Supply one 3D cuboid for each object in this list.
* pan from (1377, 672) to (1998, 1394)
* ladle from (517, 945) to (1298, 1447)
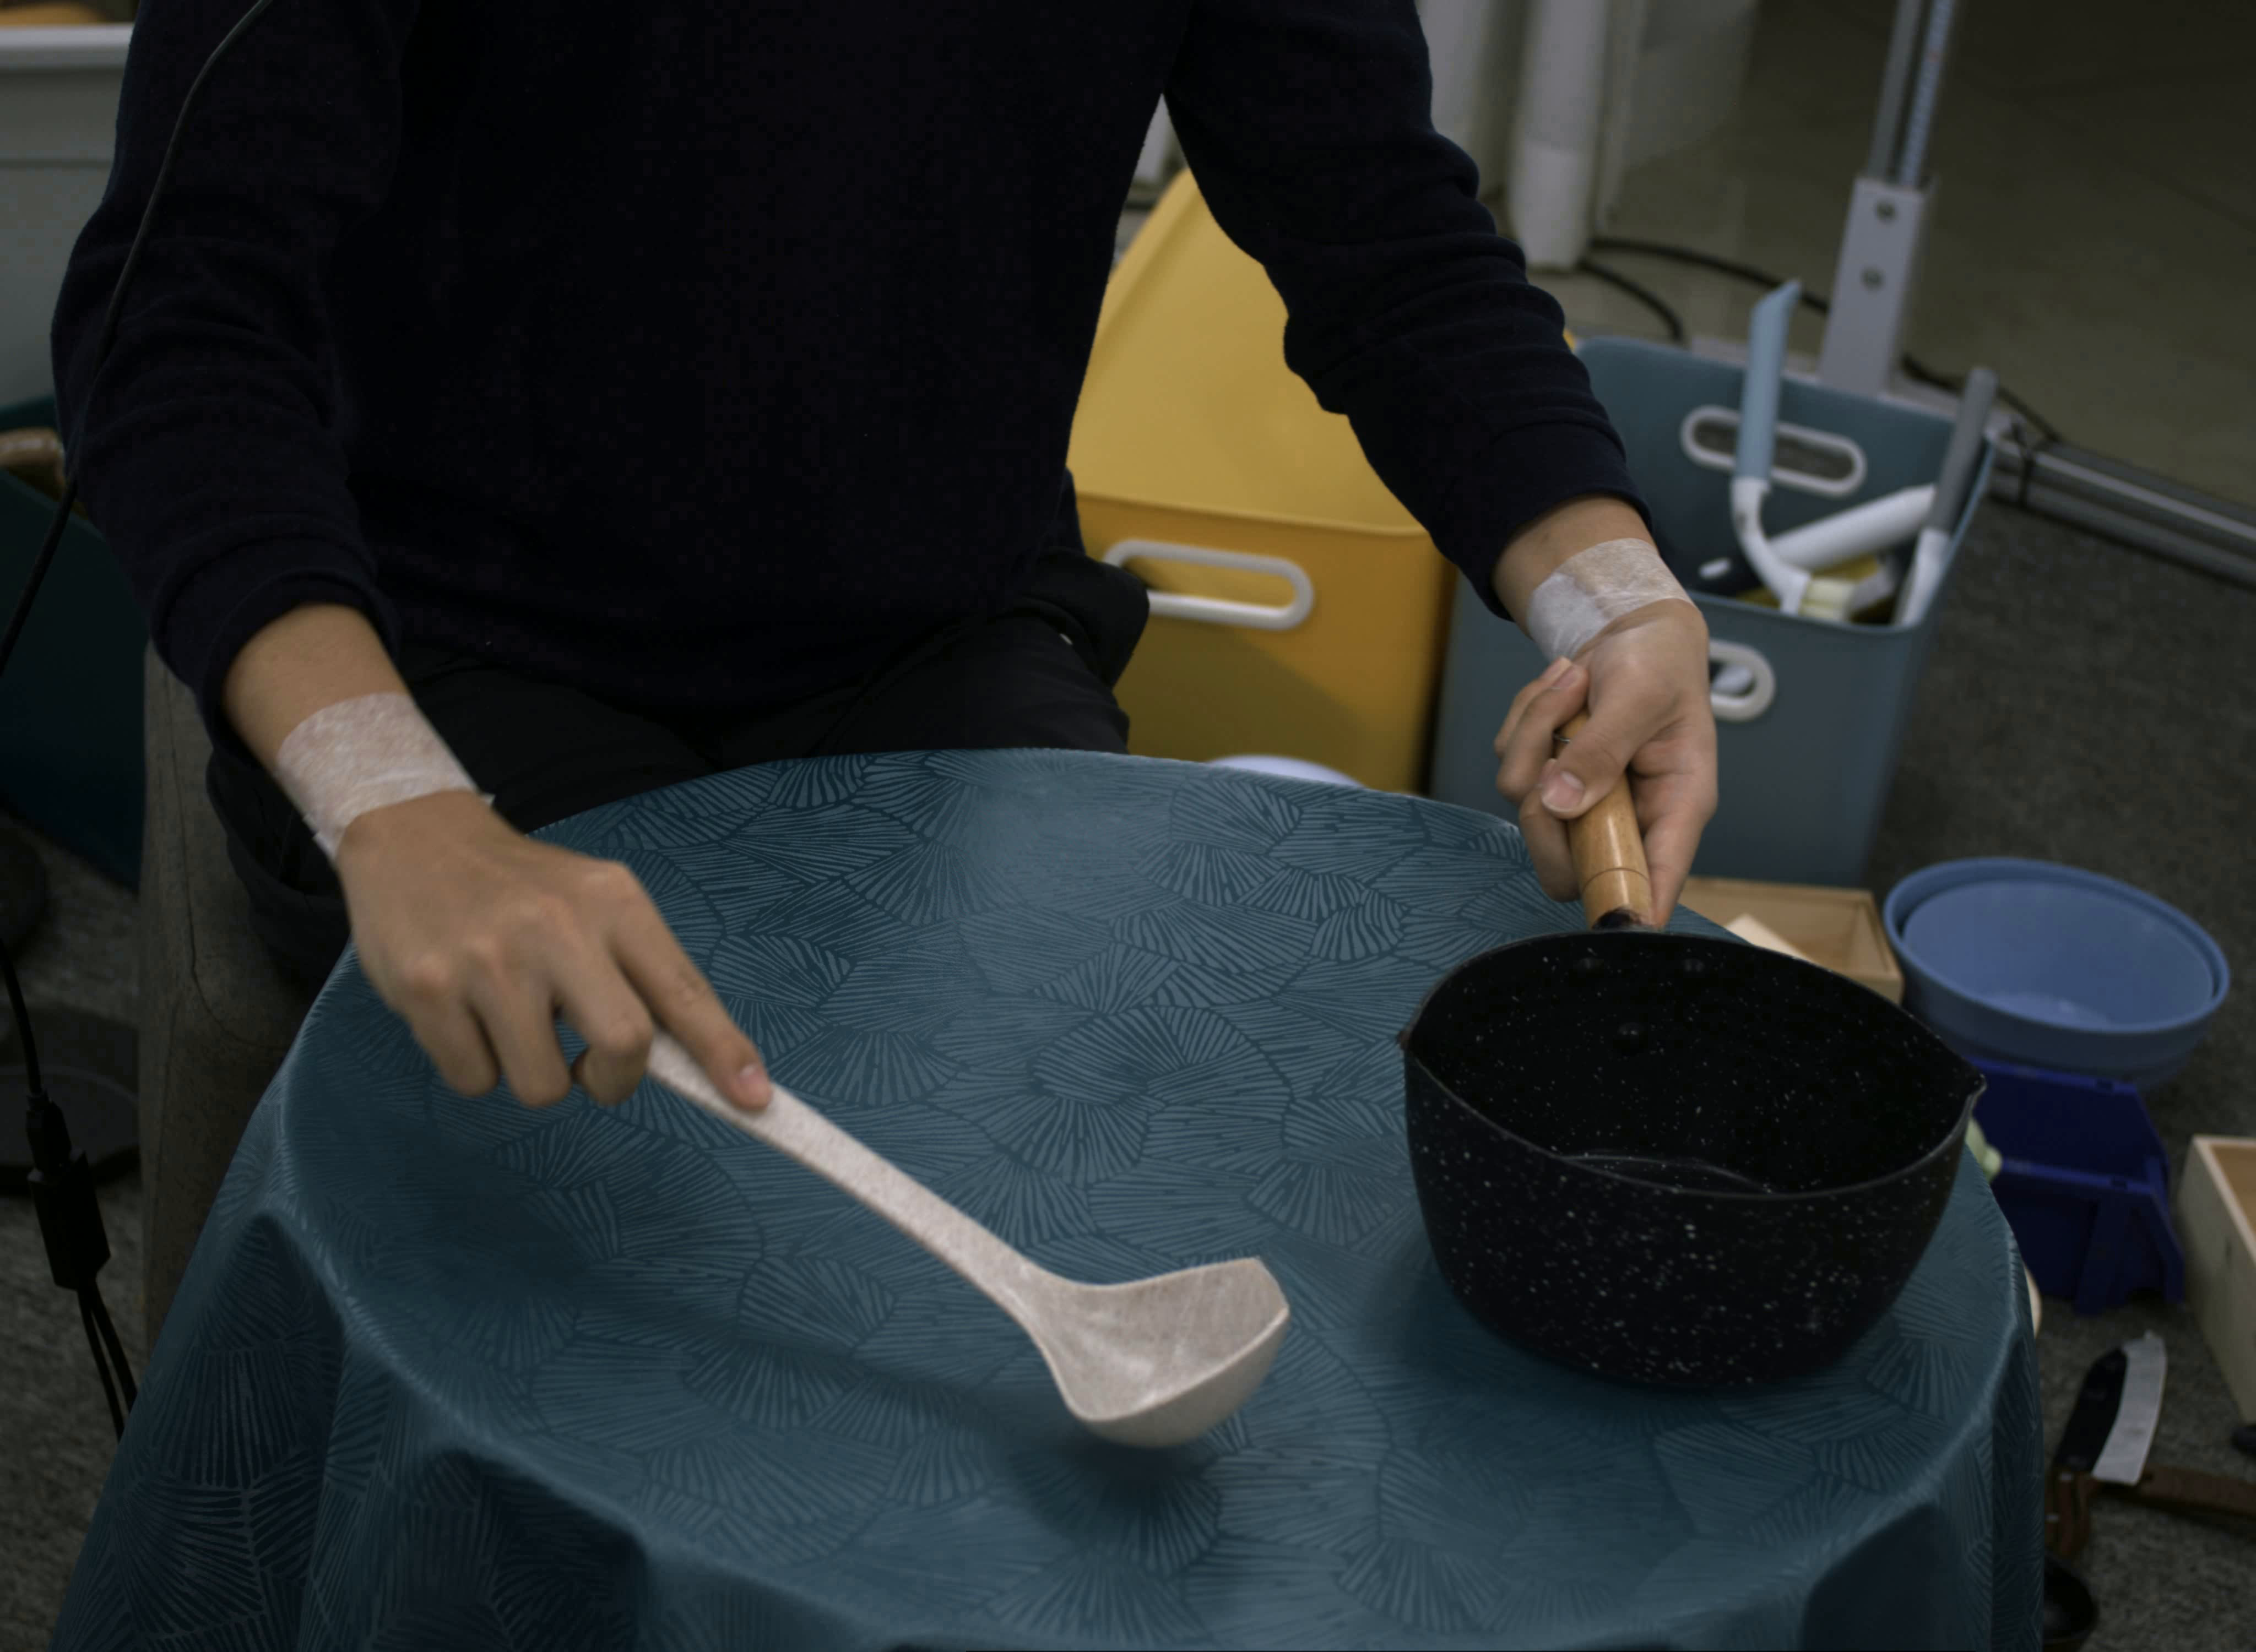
[{"bbox_3d":[0.174,0.068,1.834,0.206,0.108,0.345,1,27,-8],"label":"pan"},{"bbox_3d":[-0.073,0.097,1.656,0.275,0.069,0.089,35,46,10],"label":"ladle"}]
